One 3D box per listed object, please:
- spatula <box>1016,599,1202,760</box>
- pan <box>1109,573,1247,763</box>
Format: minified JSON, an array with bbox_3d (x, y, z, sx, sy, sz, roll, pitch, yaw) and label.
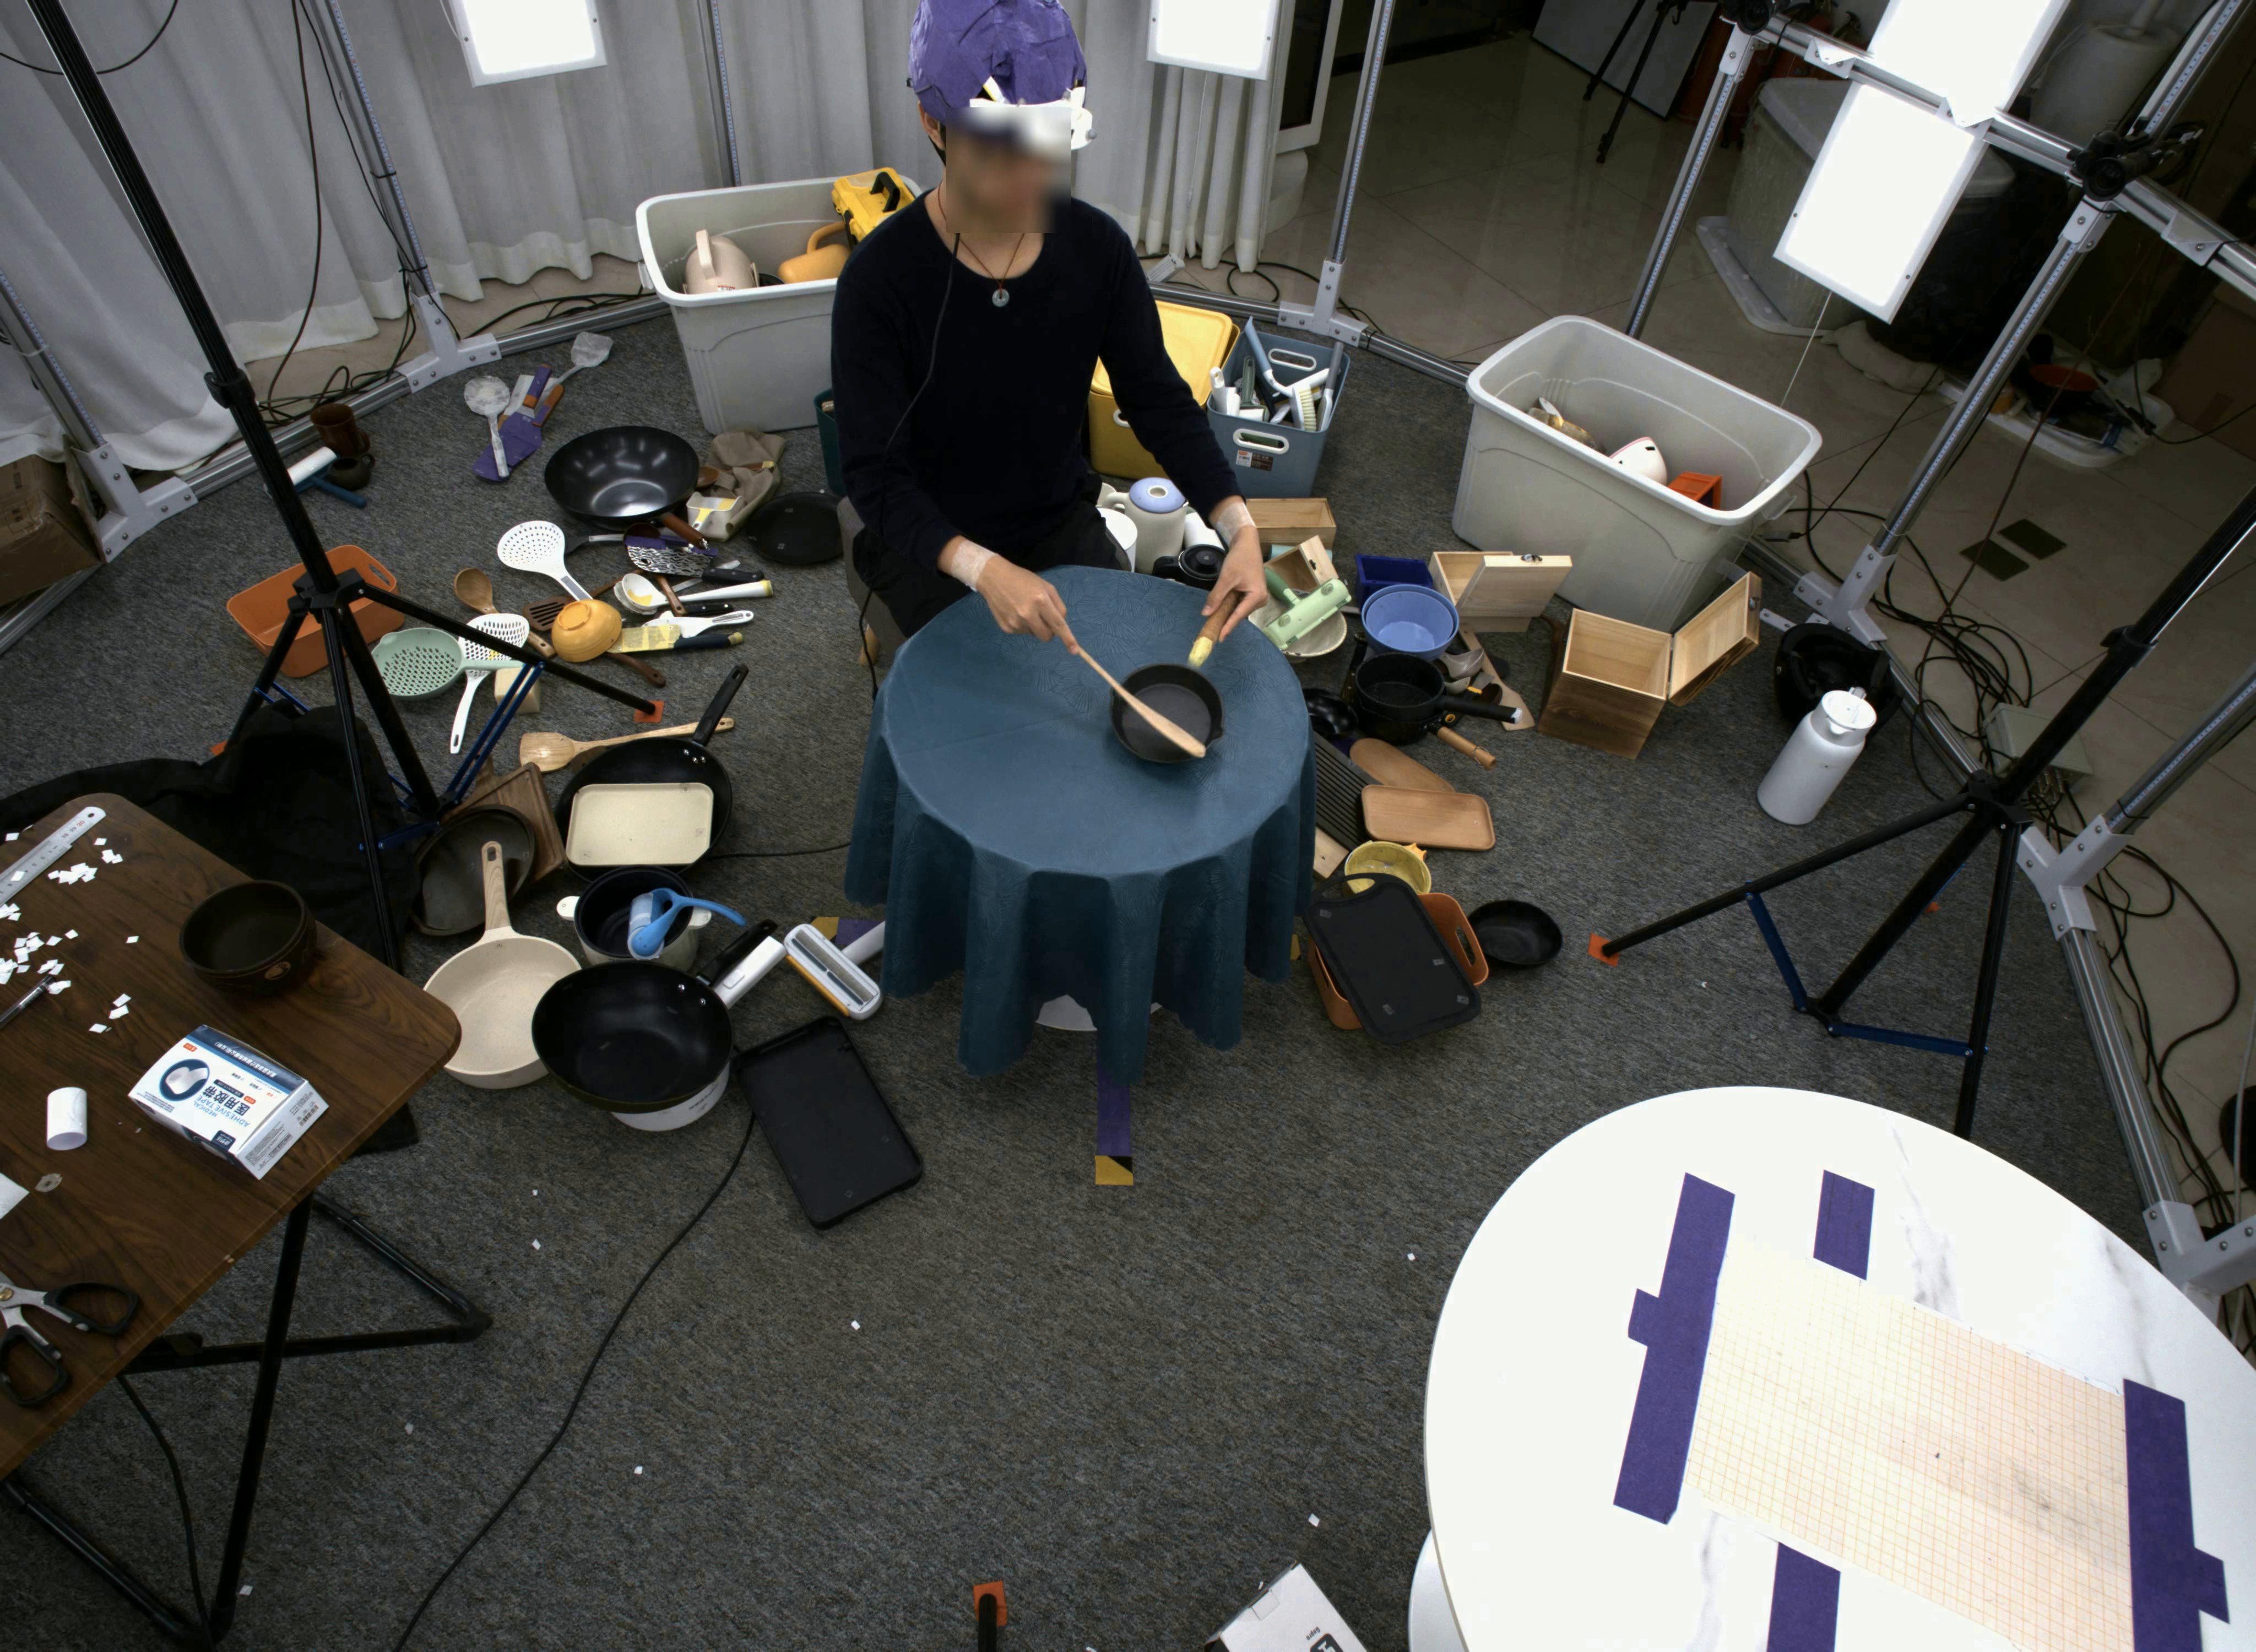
[{"bbox_3d":[-0.024,-0.198,1.719,0.328,0.016,0.080,42,17,4],"label":"spatula"},{"bbox_3d":[0.092,-0.222,1.790,0.170,0.048,0.328,25,67,12],"label":"pan"}]
